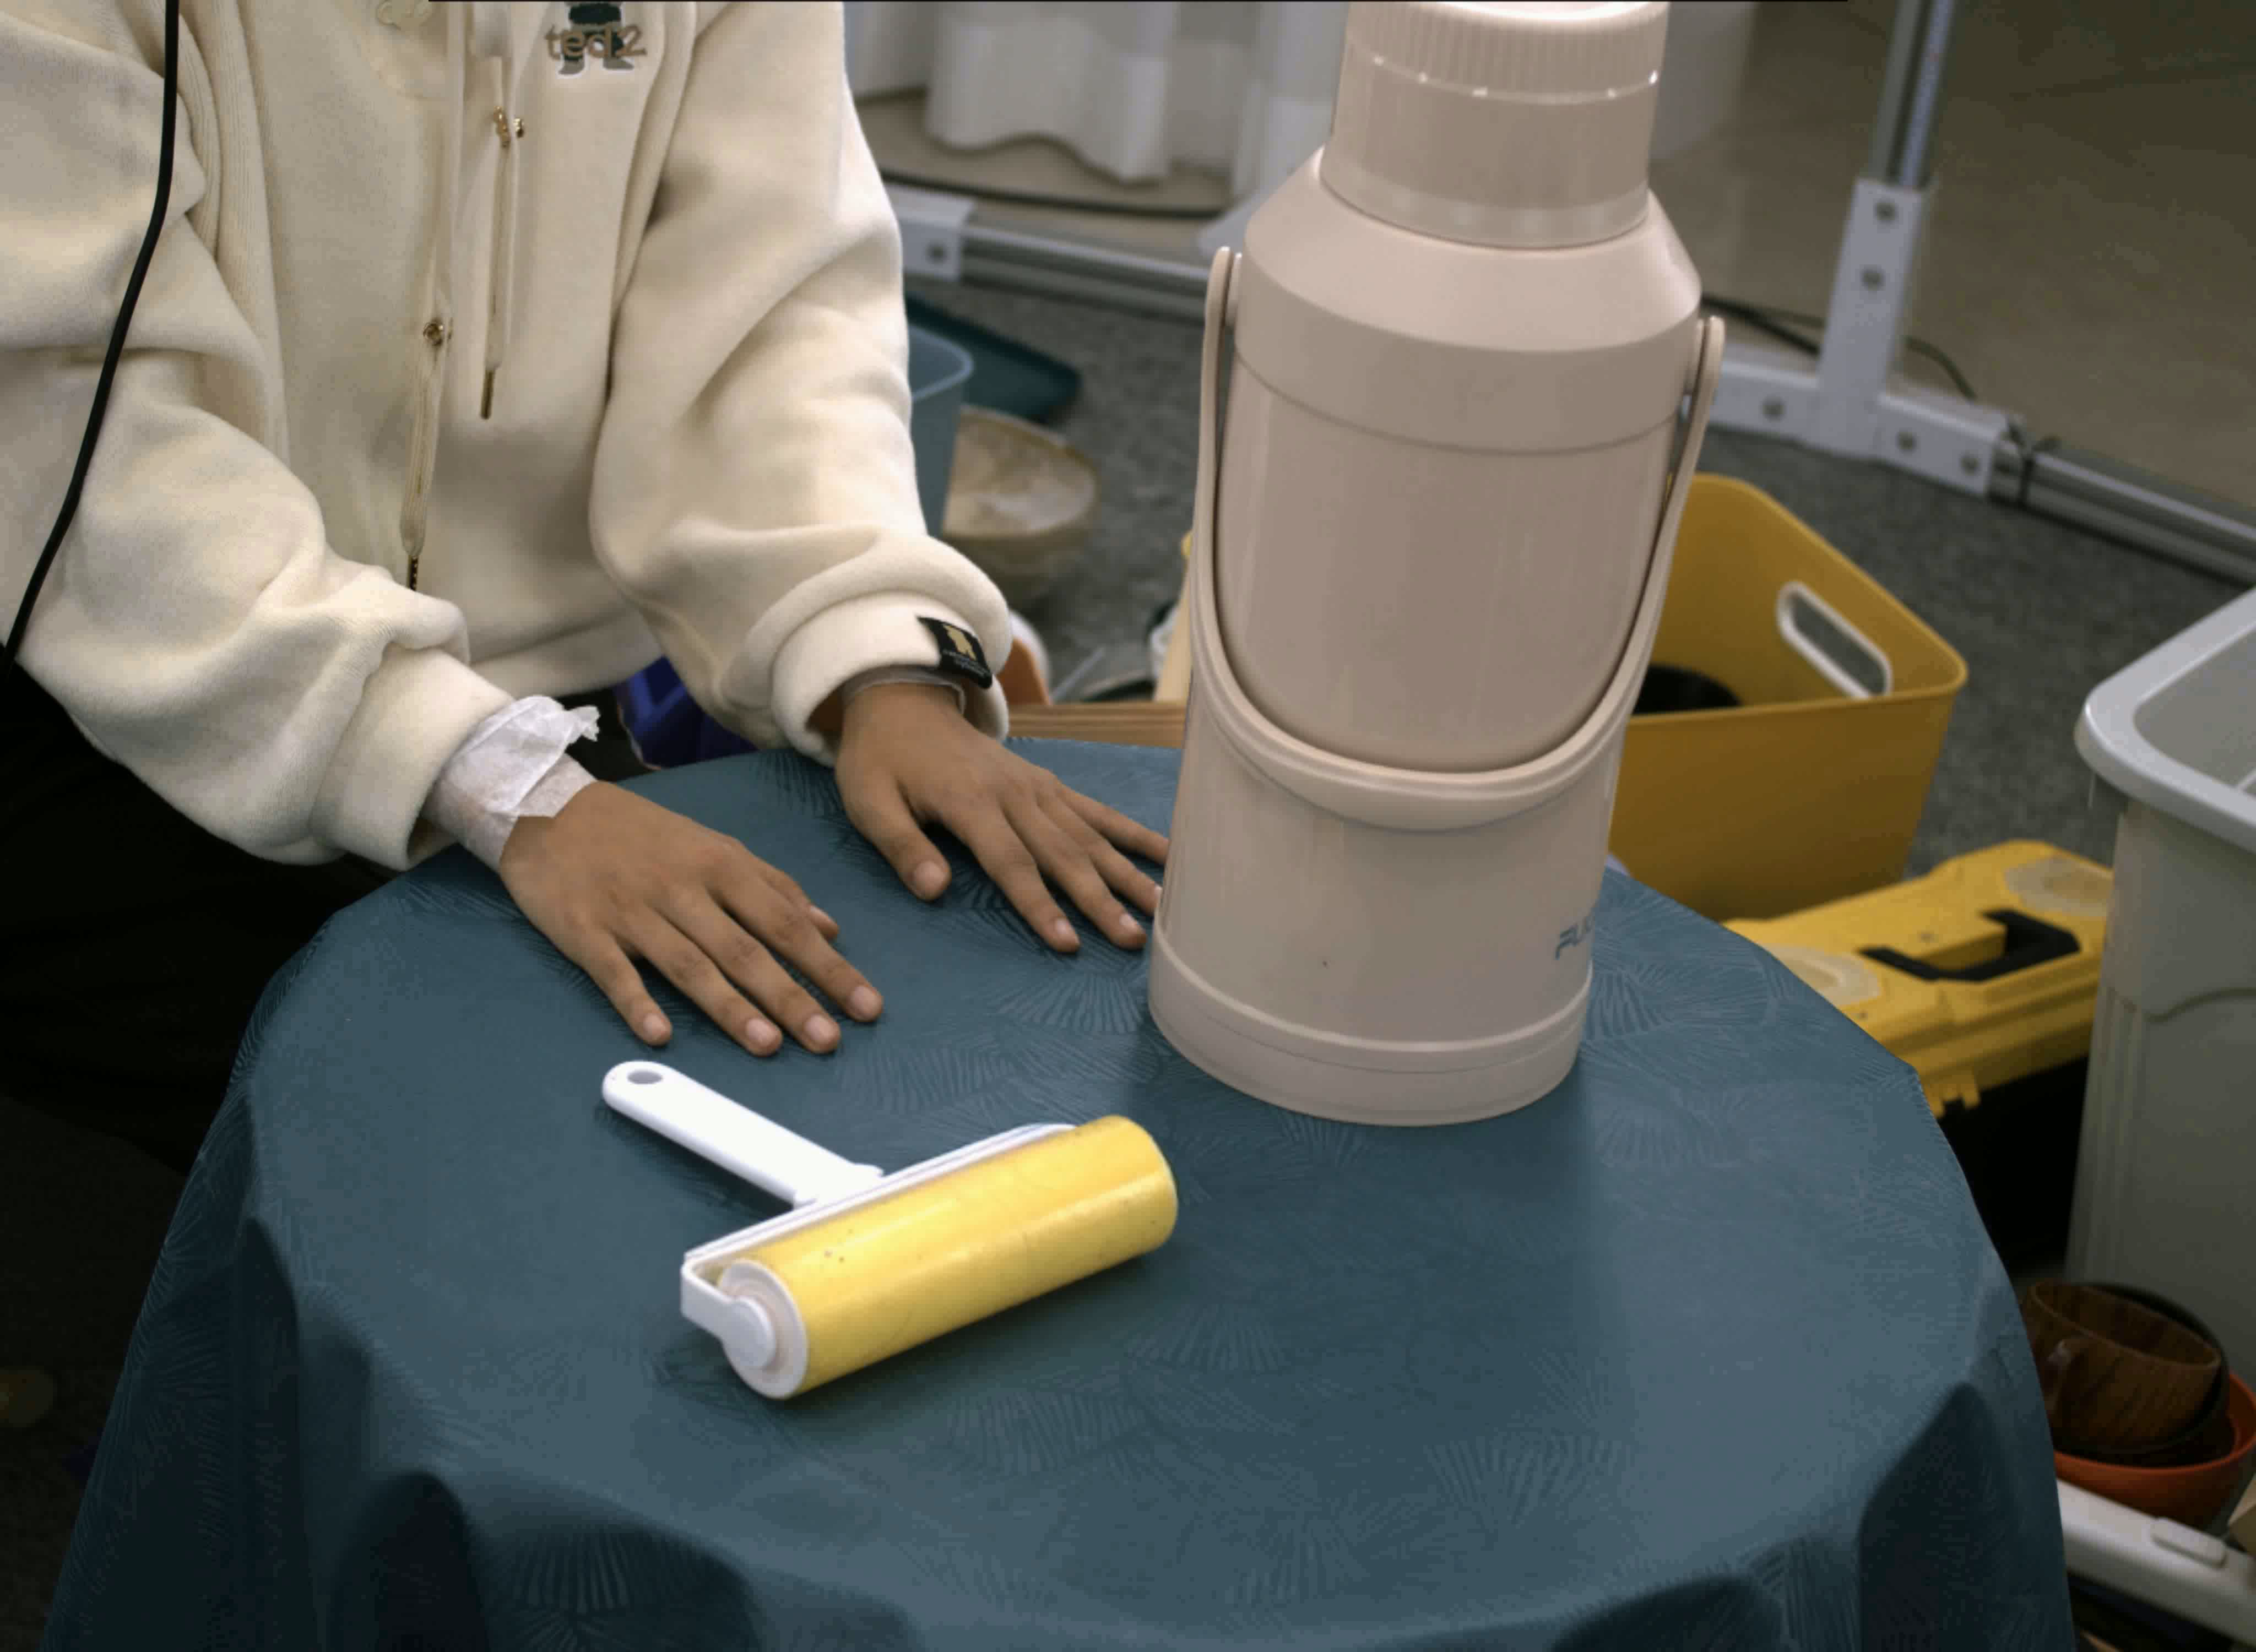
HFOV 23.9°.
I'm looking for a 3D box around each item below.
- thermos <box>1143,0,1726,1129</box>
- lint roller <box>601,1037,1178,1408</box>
[{"bbox_3d":[0.109,-0.111,1.852,0.175,0.405,0.208,8,26,4],"label":"thermos"},{"bbox_3d":[-0.106,0.107,1.751,0.173,0.051,0.193,-19,43,-41],"label":"lint roller"}]
